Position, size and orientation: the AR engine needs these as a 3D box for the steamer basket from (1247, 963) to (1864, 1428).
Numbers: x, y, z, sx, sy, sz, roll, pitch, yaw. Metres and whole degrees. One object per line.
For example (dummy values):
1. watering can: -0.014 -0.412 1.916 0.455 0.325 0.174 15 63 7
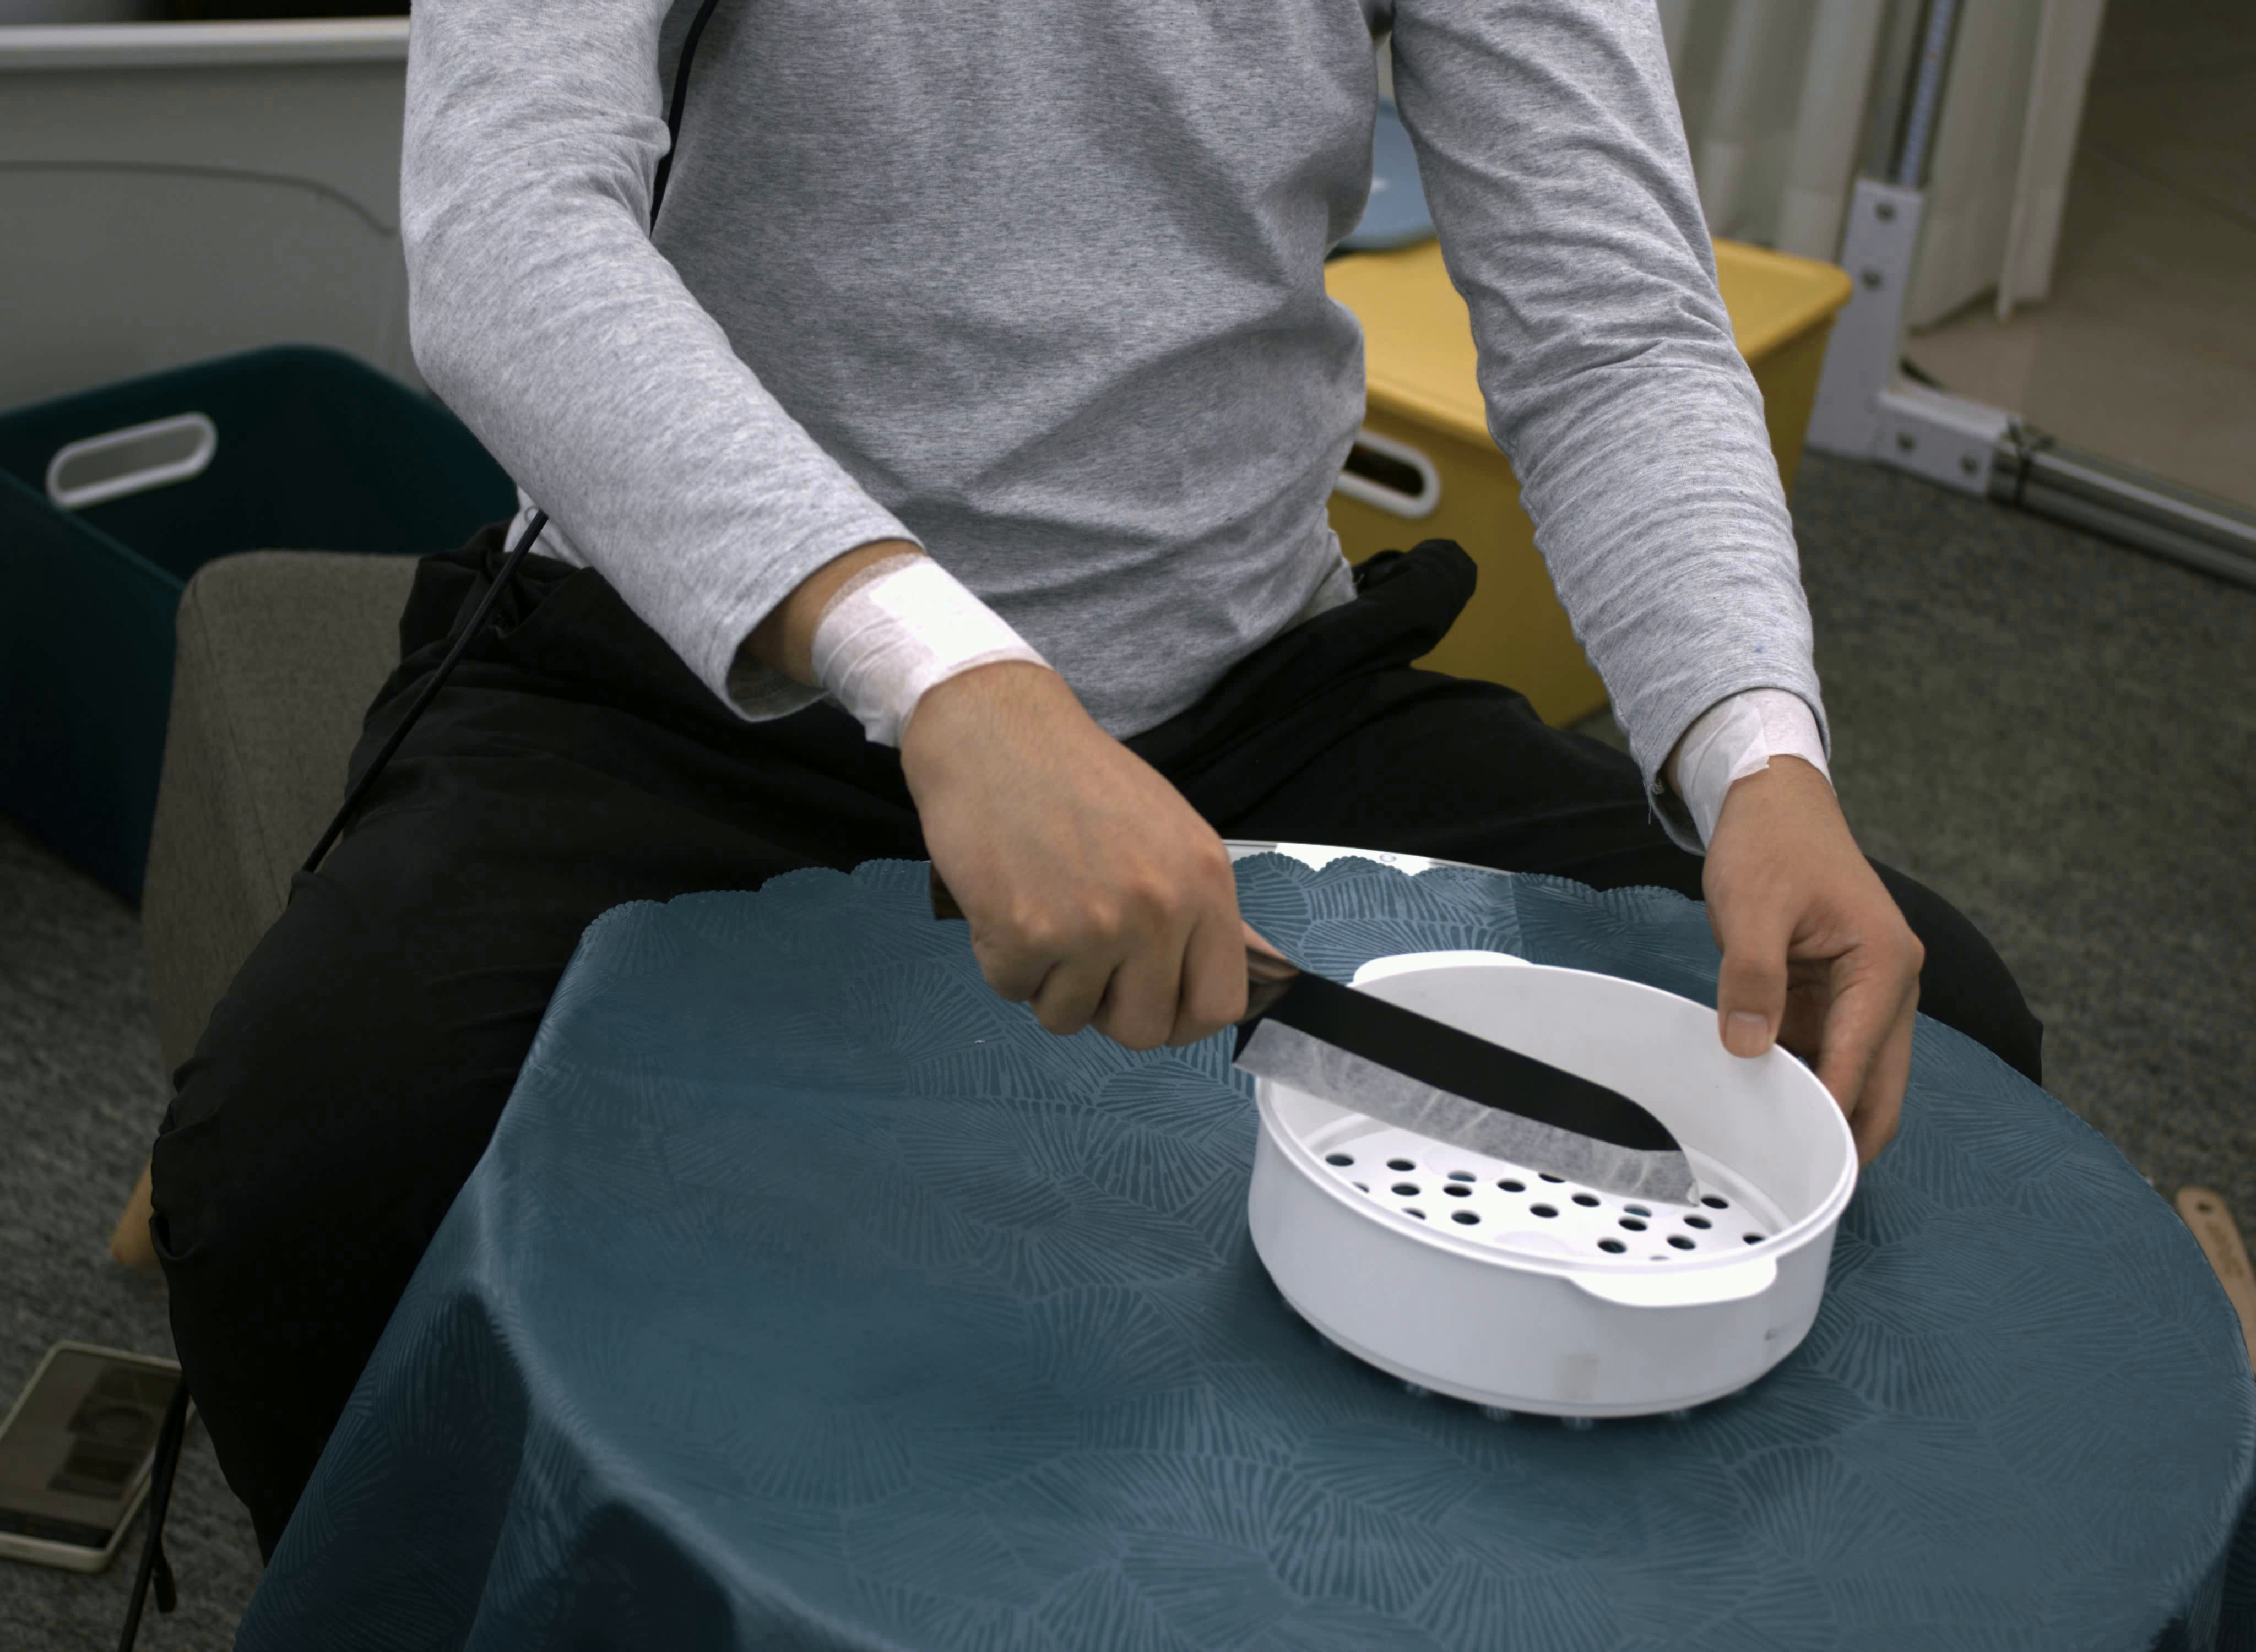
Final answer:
1. steamer basket: 0.139 0.124 1.763 0.200 0.069 0.232 -3 27 -19

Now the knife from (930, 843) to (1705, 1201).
1. knife: 0.064 0.067 1.738 0.287 0.050 0.020 23 32 -13
